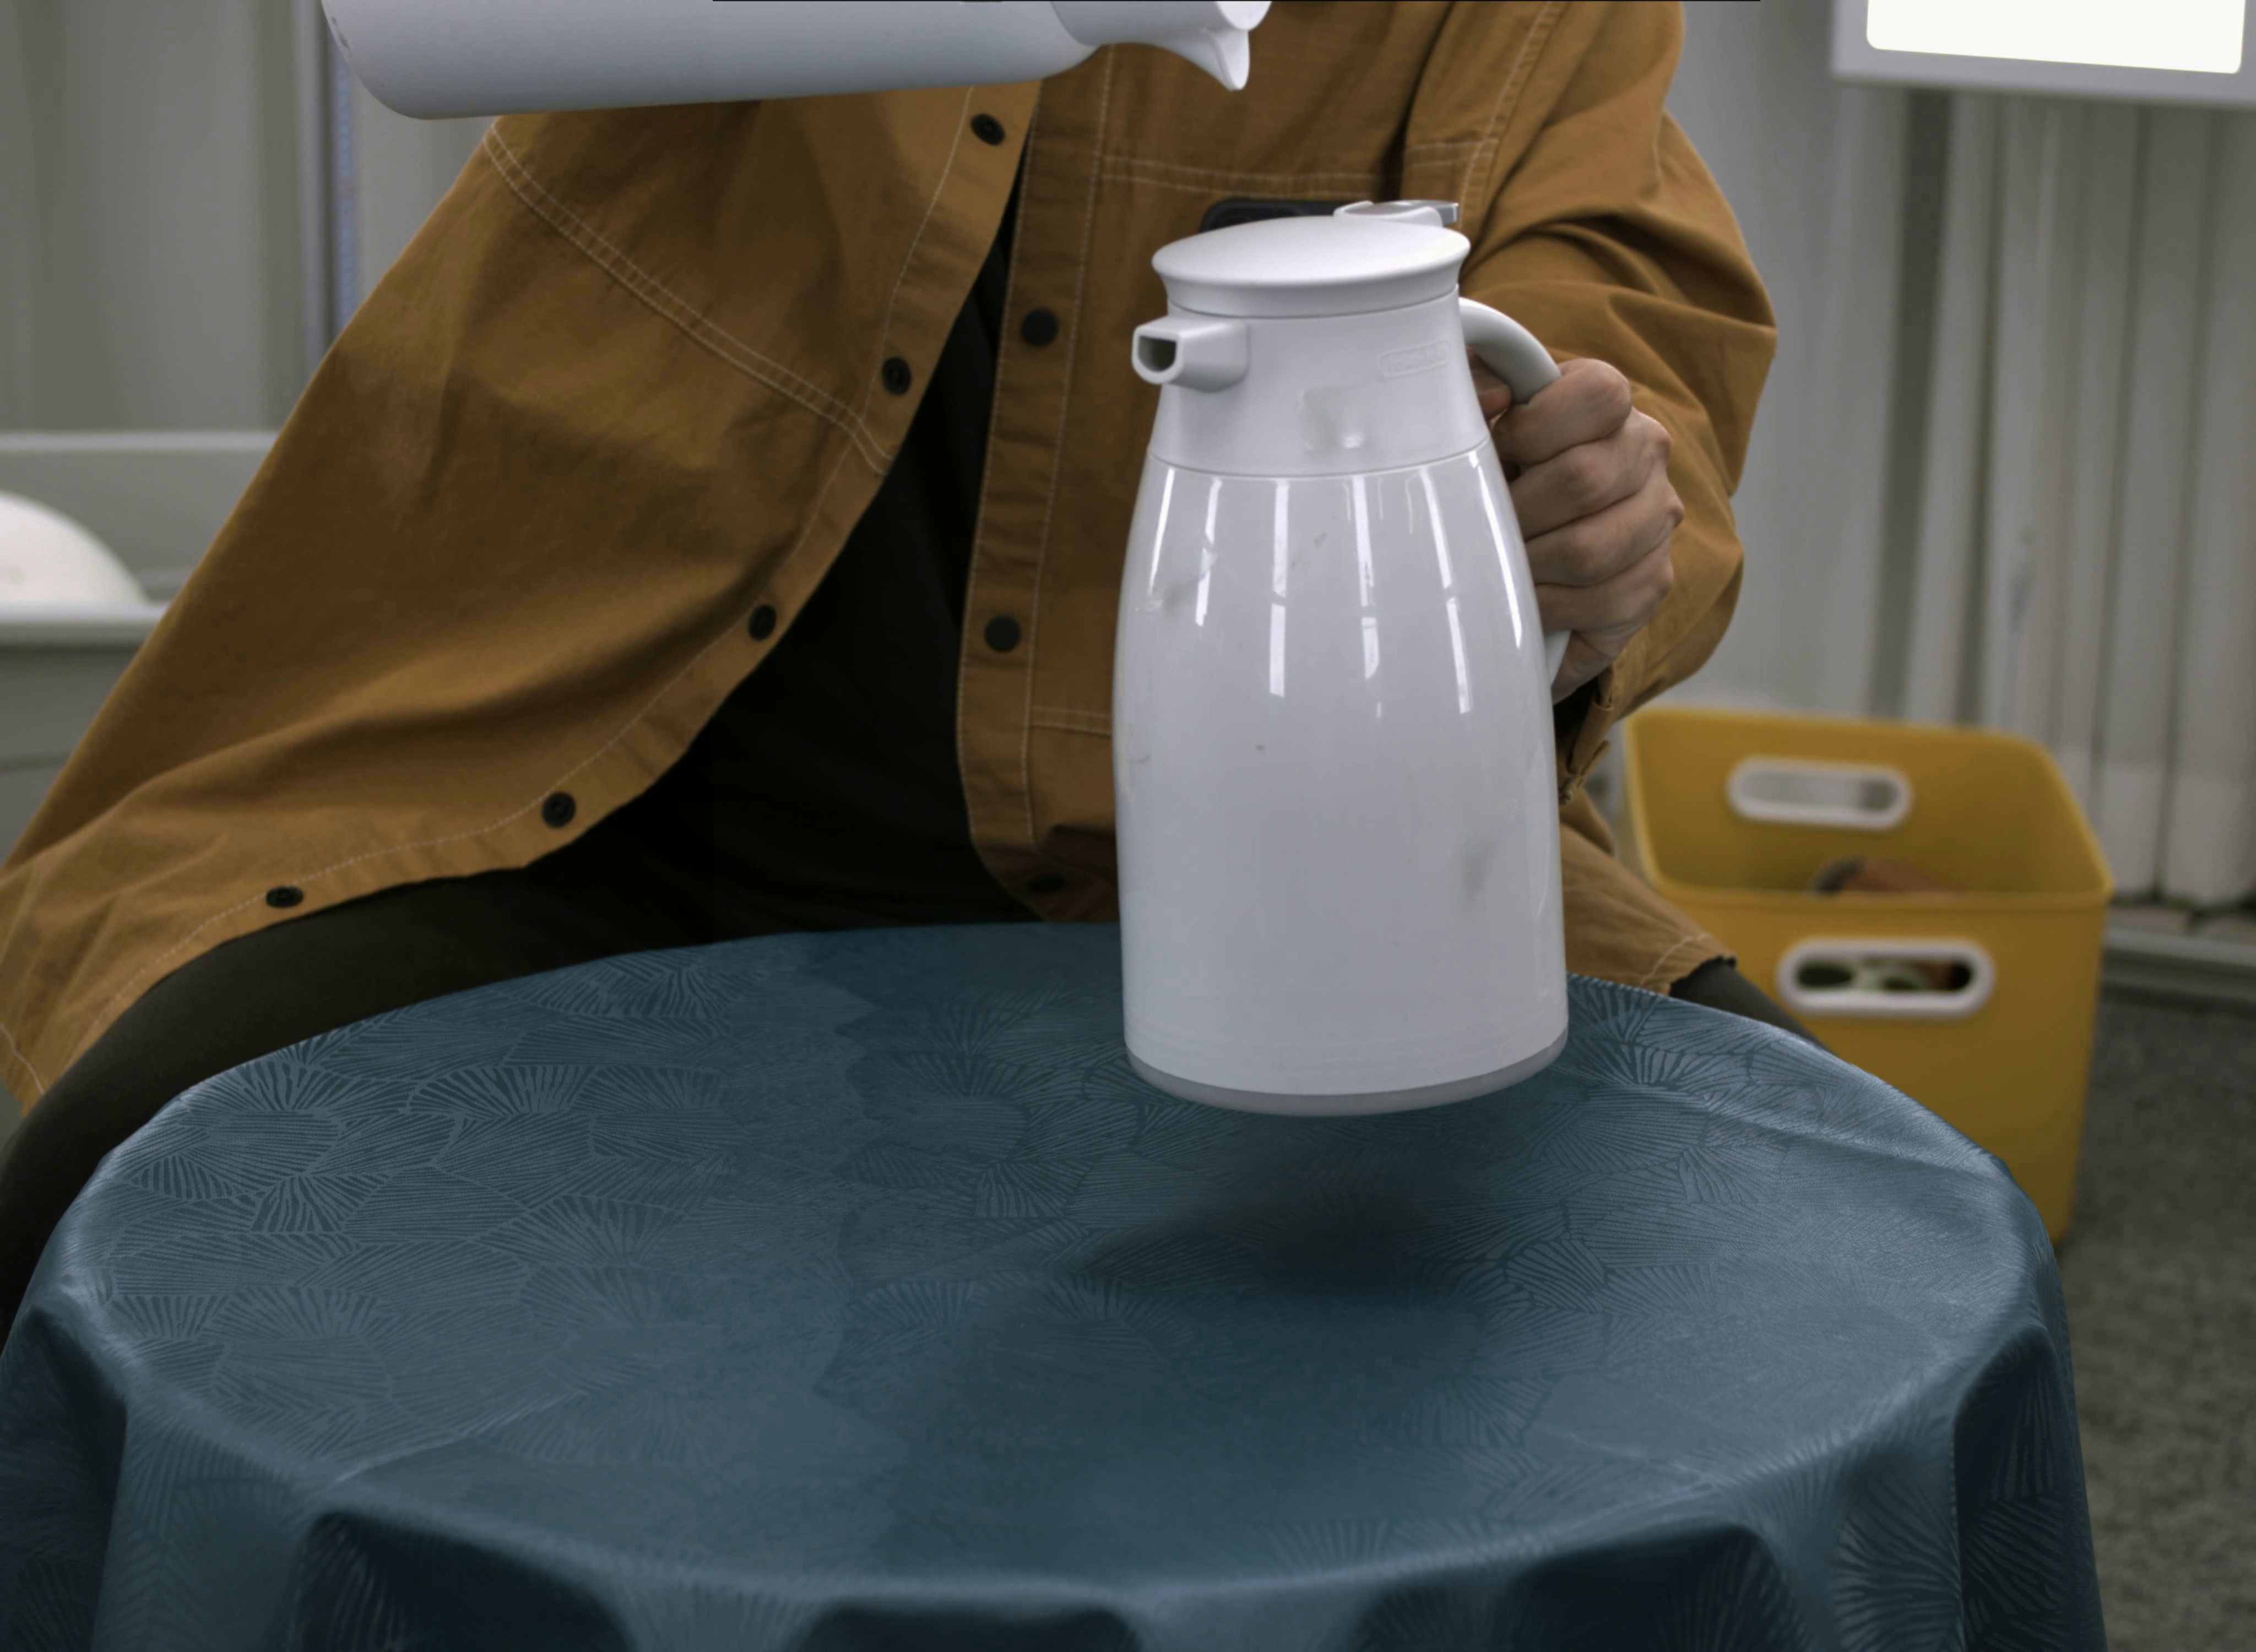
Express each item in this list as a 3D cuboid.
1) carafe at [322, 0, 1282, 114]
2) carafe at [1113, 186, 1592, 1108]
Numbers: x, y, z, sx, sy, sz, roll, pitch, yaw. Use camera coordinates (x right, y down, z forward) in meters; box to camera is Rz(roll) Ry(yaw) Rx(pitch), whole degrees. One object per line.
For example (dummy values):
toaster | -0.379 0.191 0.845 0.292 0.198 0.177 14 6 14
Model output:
carafe | -0.097 -0.284 1.489 0.266 0.175 0.123 -1 30 19
carafe | 0.072 -0.060 1.543 0.168 0.251 0.131 -17 22 -41
